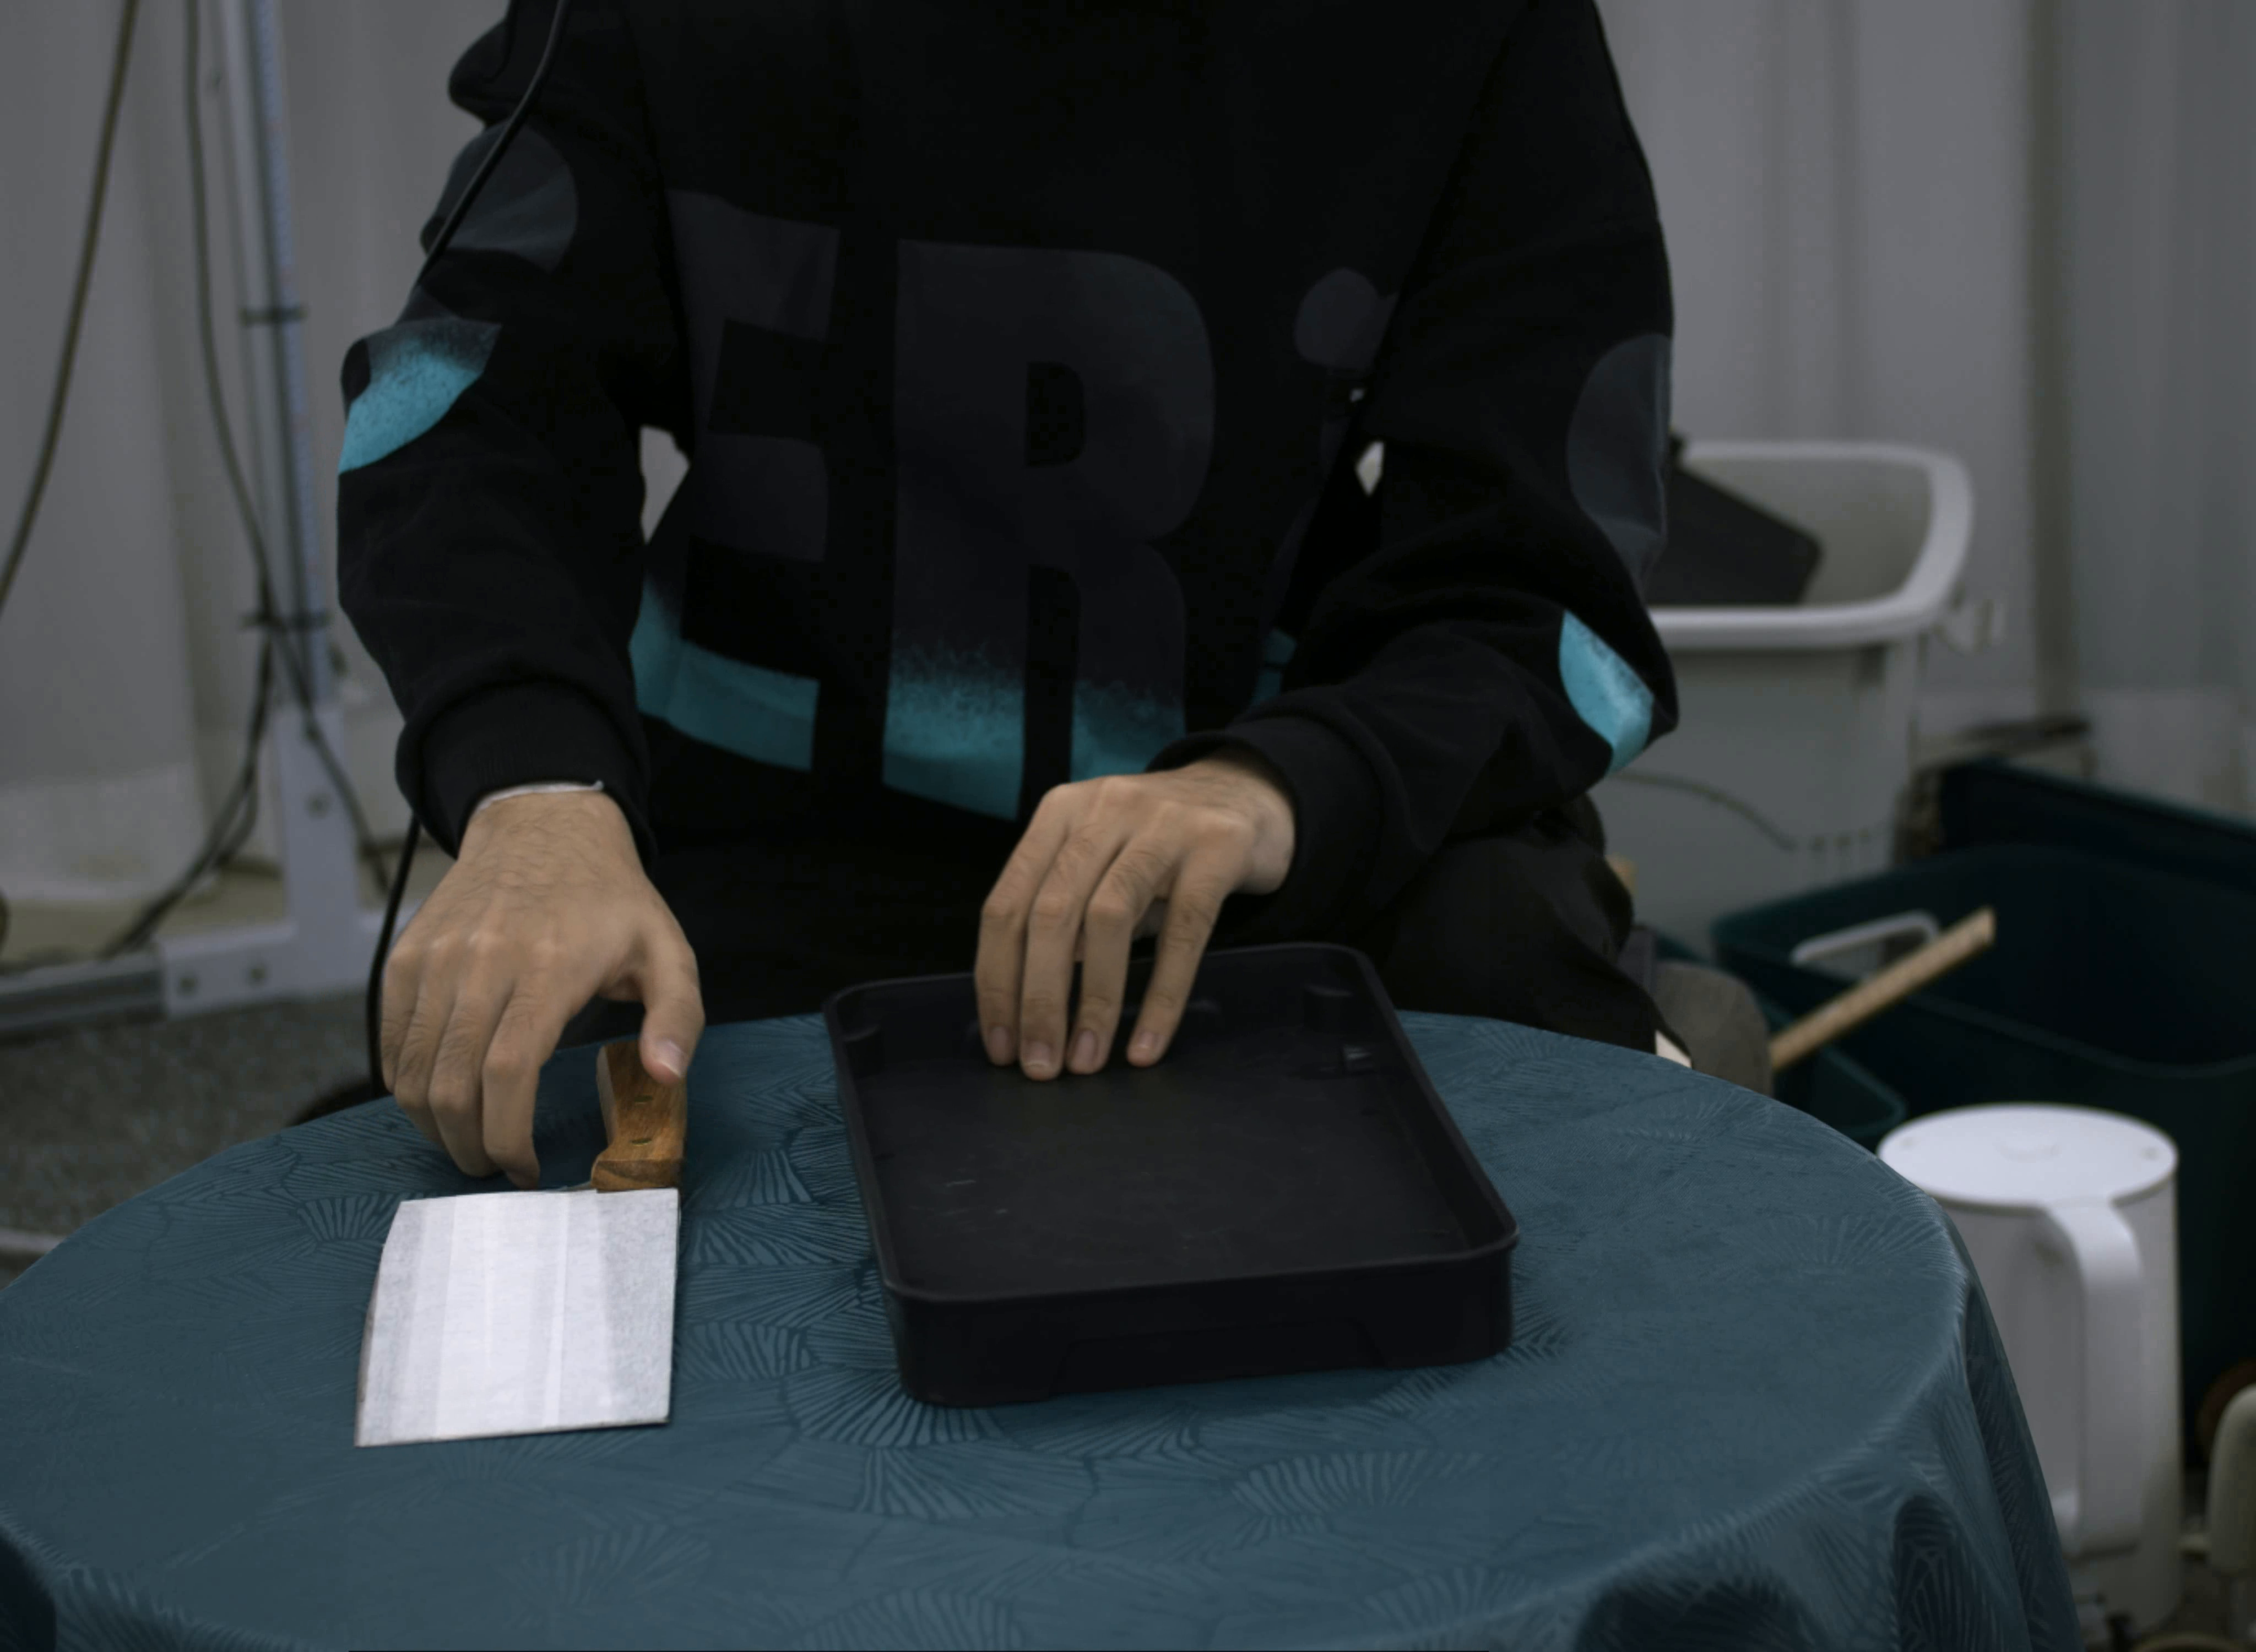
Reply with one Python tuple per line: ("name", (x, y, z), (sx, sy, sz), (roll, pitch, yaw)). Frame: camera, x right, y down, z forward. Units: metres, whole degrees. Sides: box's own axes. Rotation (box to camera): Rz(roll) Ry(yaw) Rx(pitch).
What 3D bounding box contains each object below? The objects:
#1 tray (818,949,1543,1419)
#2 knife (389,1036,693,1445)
("tray", (0.009, 0.104, 1.684), (0.183, 0.037, 0.320), (-5, 15, -7))
("knife", (-0.181, 0.126, 1.681), (0.092, 0.021, 0.308), (-5, 17, -2))
